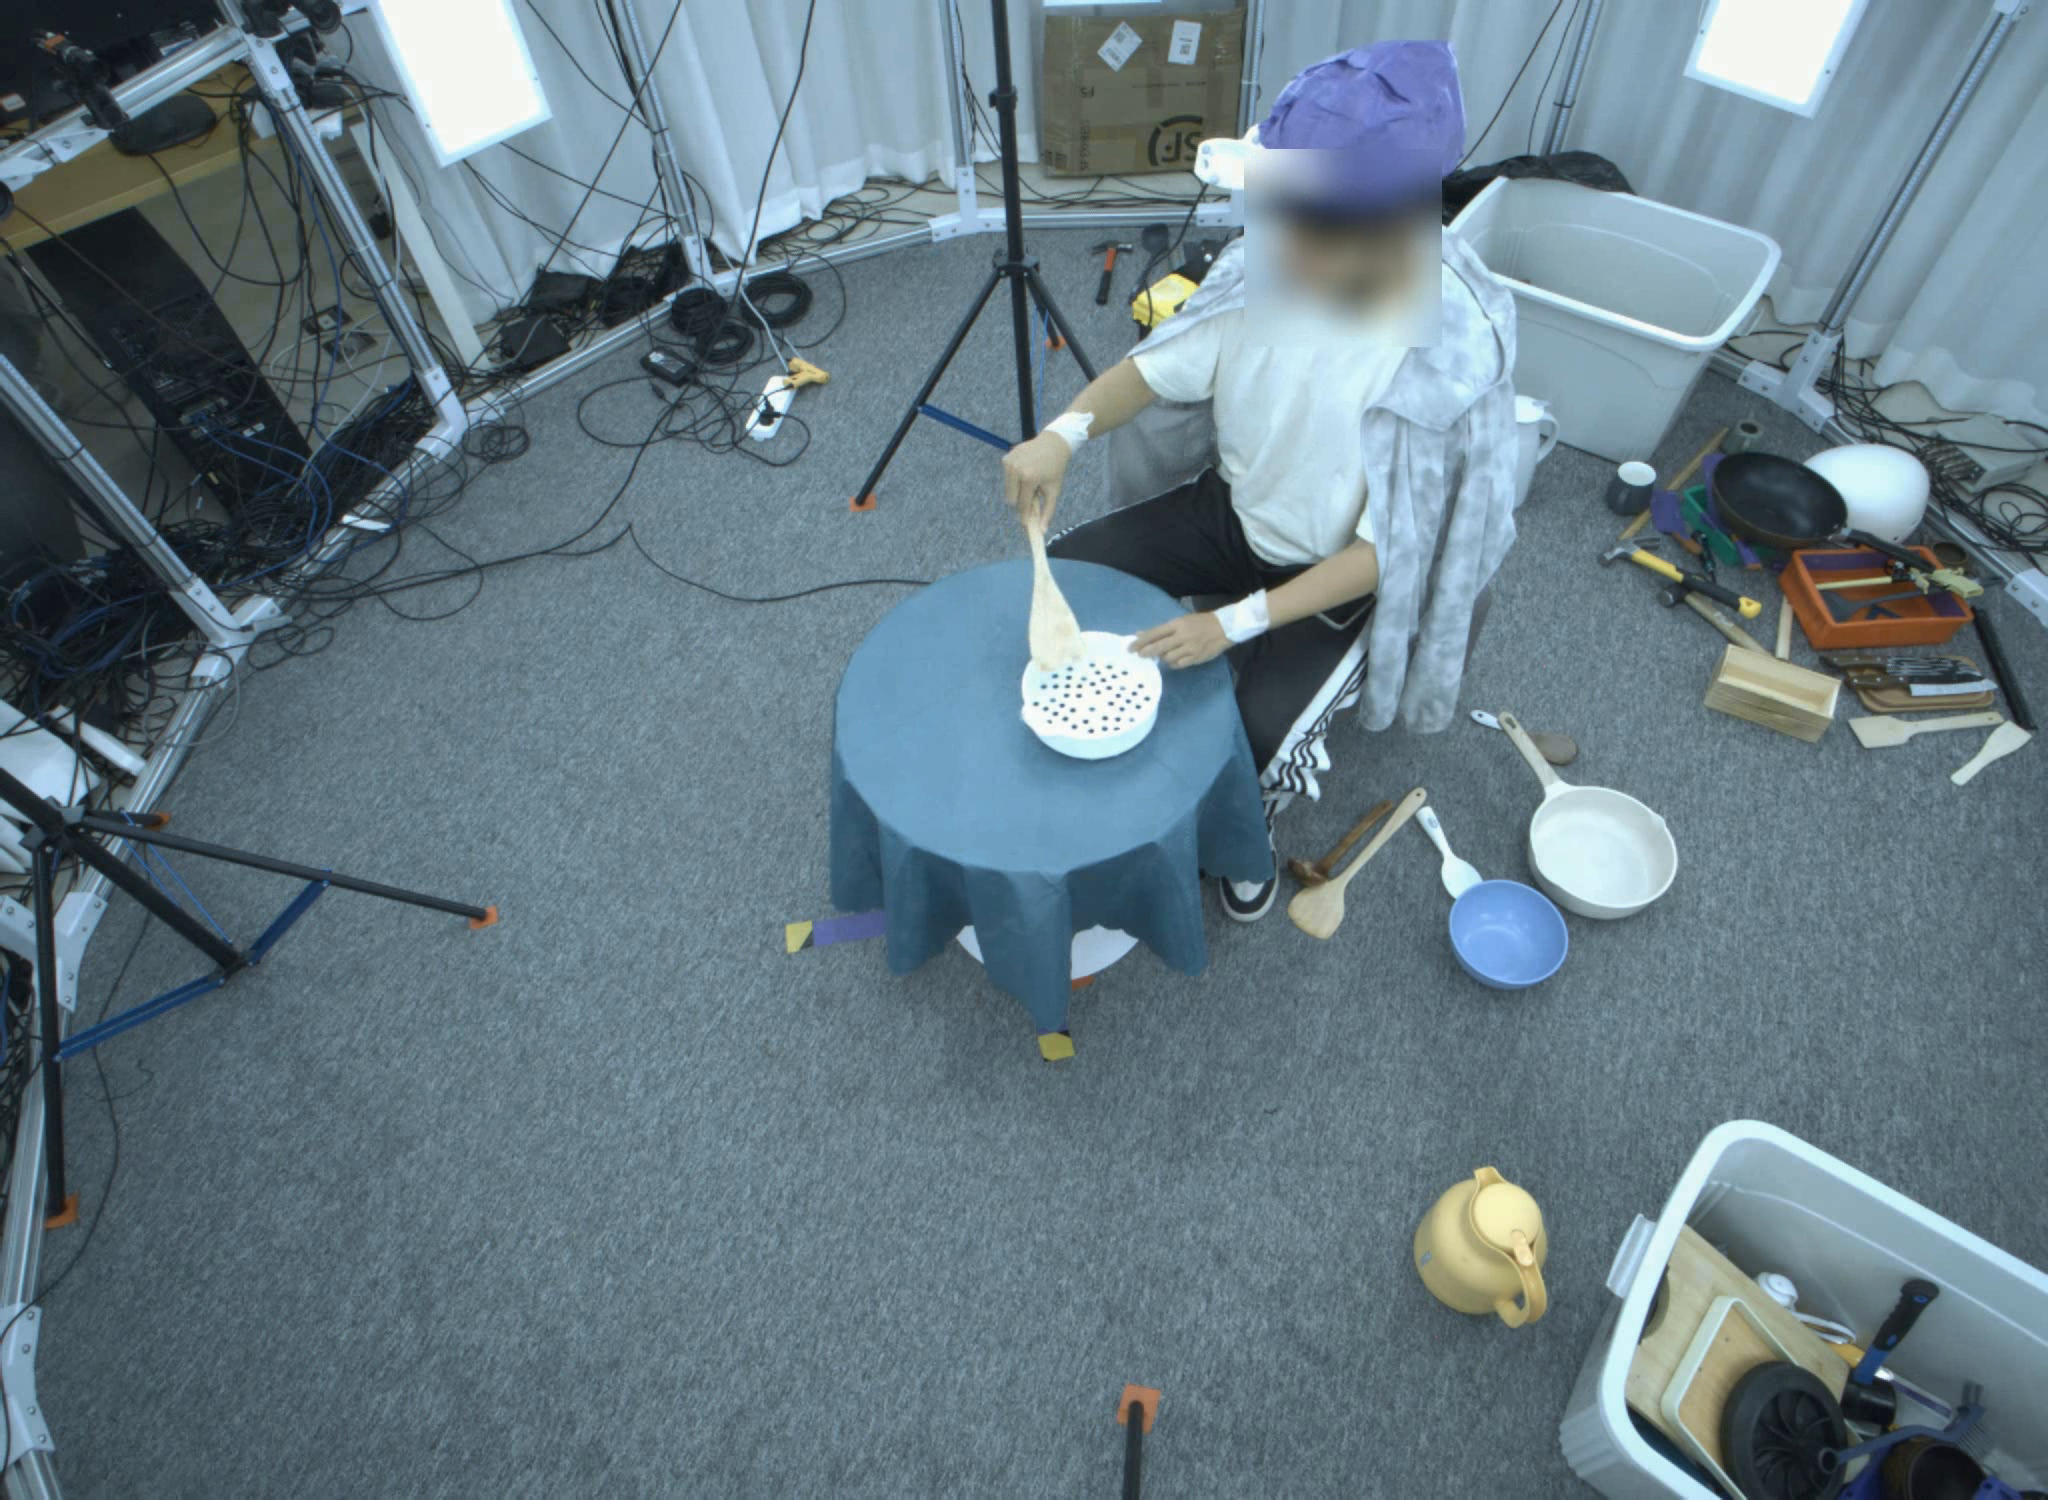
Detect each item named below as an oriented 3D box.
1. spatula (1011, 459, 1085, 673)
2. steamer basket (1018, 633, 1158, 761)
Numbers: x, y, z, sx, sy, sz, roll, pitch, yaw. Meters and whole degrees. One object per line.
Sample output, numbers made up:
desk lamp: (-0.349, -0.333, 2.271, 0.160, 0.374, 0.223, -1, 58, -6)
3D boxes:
spatula: (0.022, -0.274, 1.785, 0.080, 0.016, 0.326, -10, 84, -6)
steamer basket: (0.094, -0.076, 1.800, 0.232, 0.070, 0.198, -35, 62, -21)
